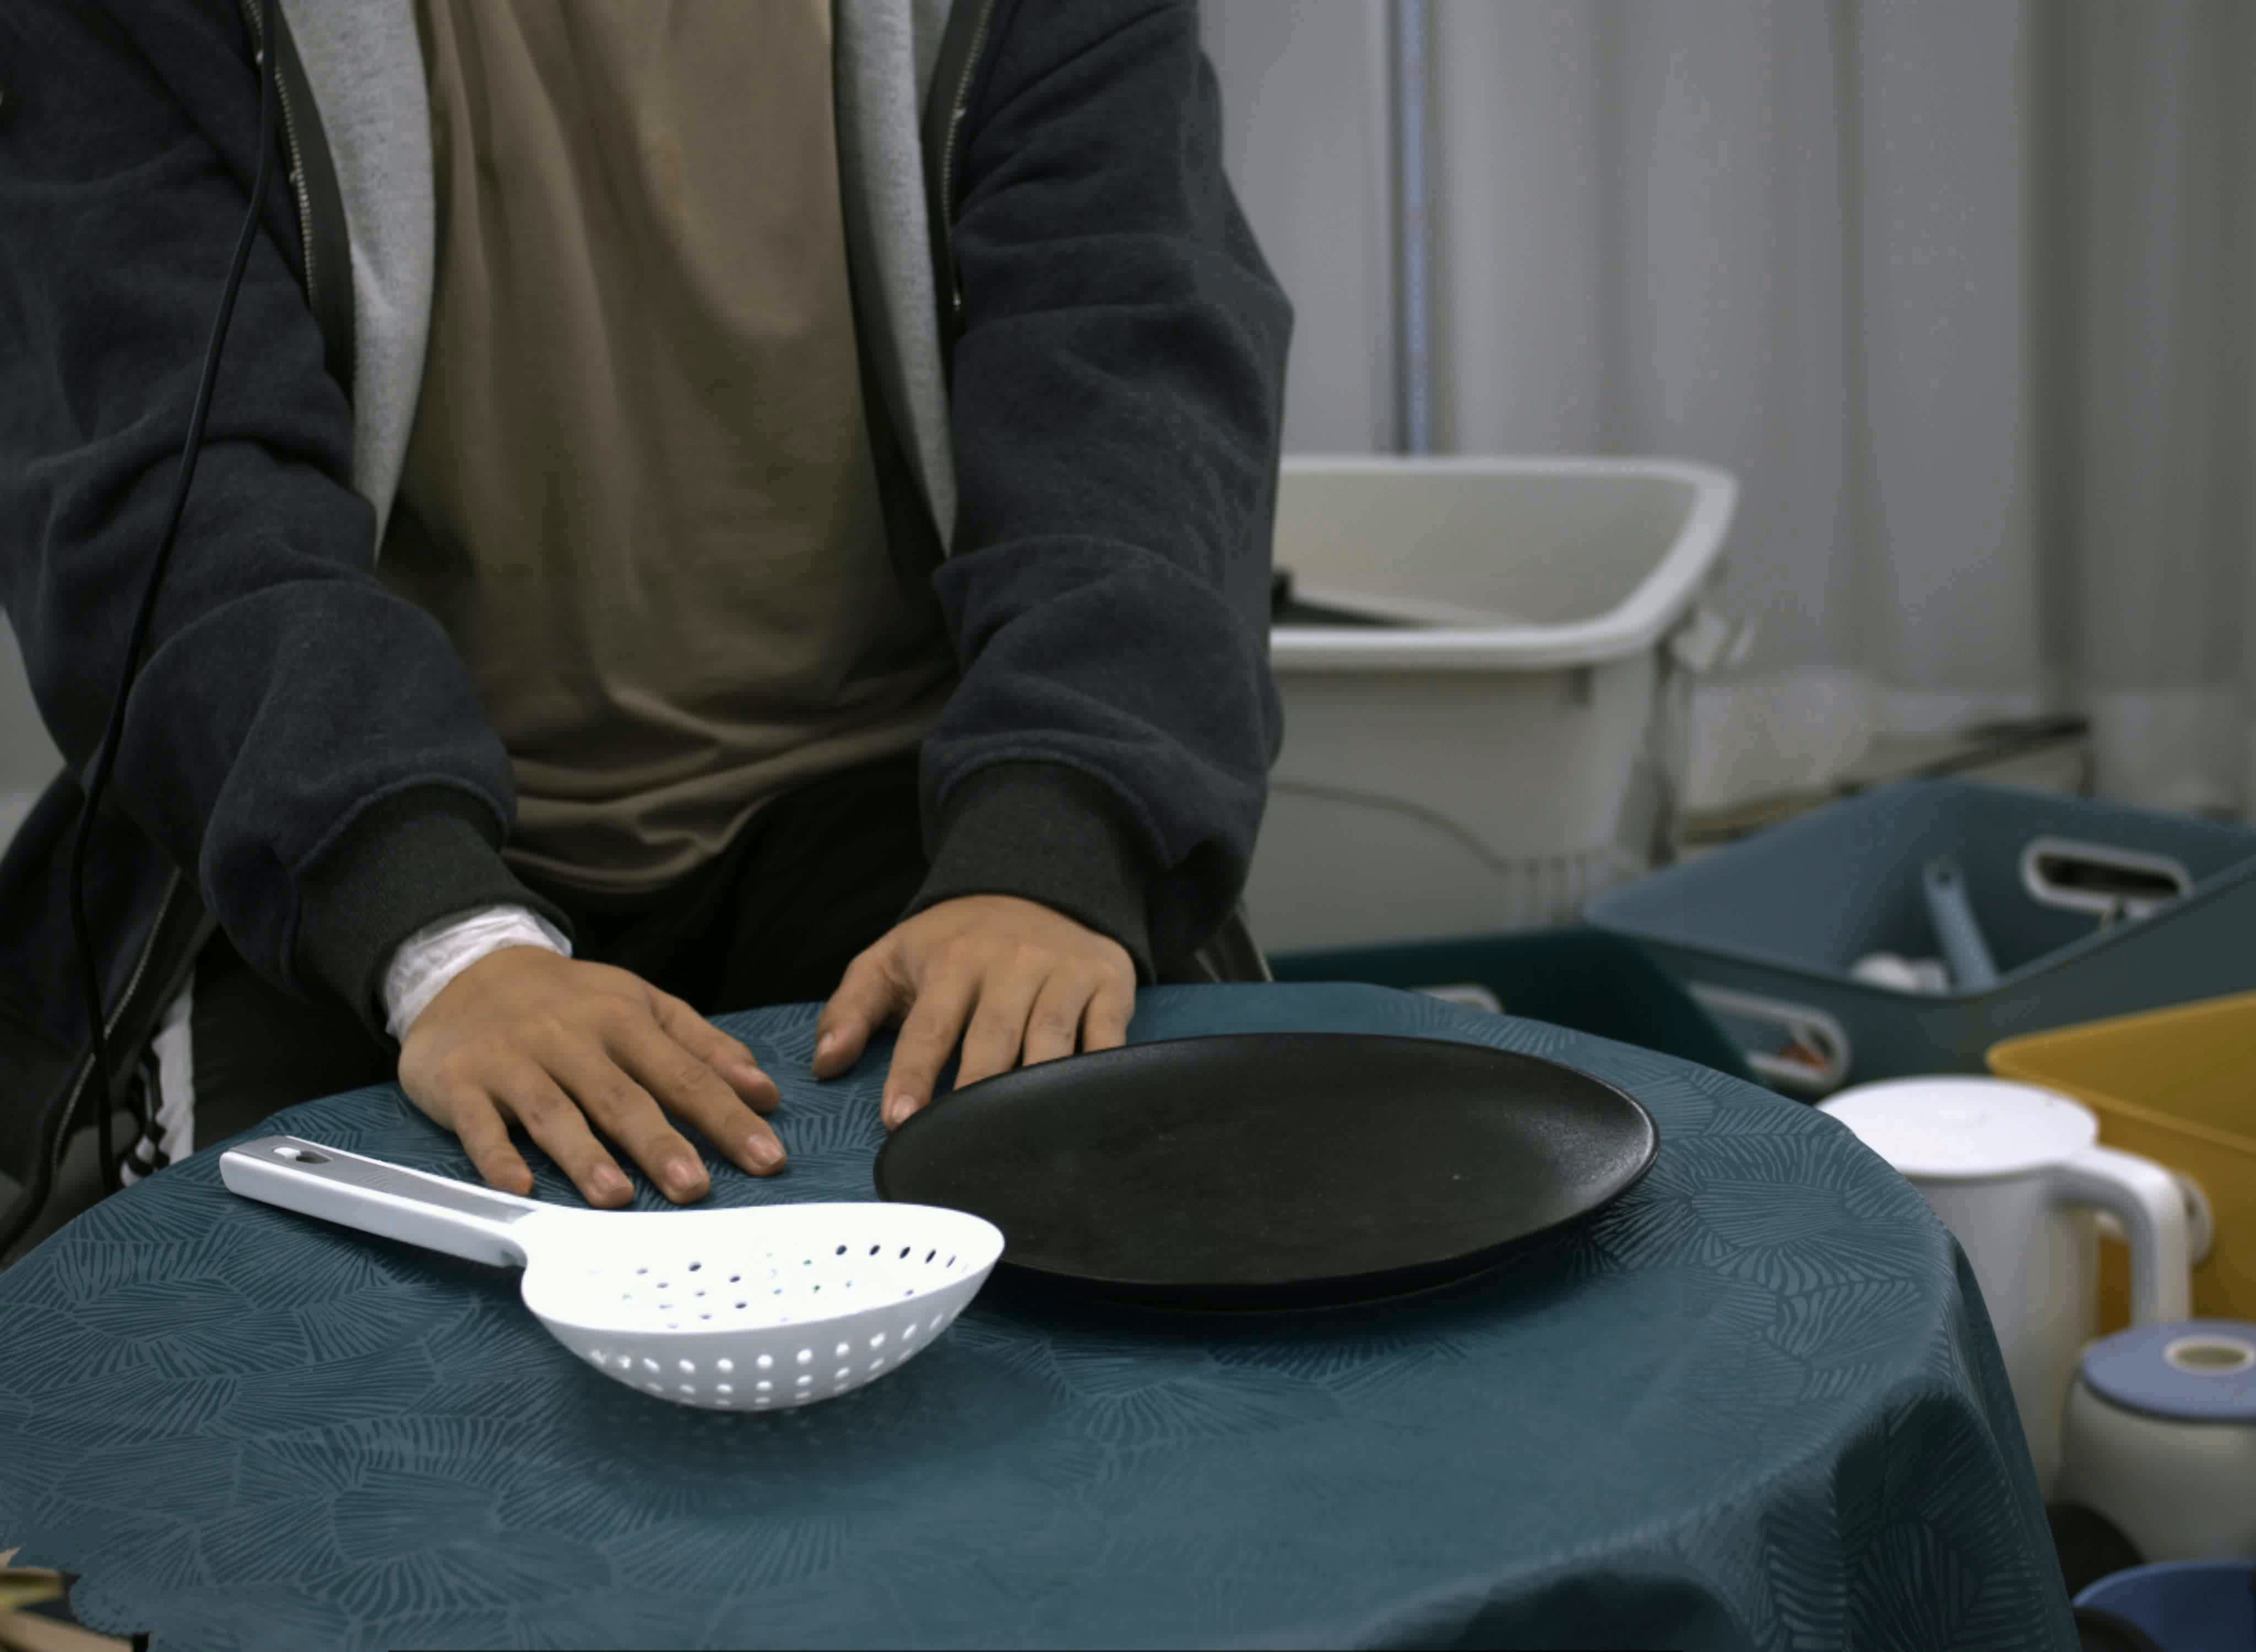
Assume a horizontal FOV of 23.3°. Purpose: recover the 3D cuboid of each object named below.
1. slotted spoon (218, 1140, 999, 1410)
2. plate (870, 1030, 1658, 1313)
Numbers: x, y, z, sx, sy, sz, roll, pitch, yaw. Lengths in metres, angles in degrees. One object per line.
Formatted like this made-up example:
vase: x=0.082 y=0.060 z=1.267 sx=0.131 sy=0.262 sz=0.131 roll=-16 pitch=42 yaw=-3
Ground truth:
slotted spoon: x=-0.172 y=0.123 z=1.629 sx=0.135 sy=0.045 sz=0.352 roll=-12 pitch=16 yaw=-38
plate: x=0.042 y=0.109 z=1.685 sx=0.243 sy=0.023 sz=0.246 roll=-3 pitch=15 yaw=0
